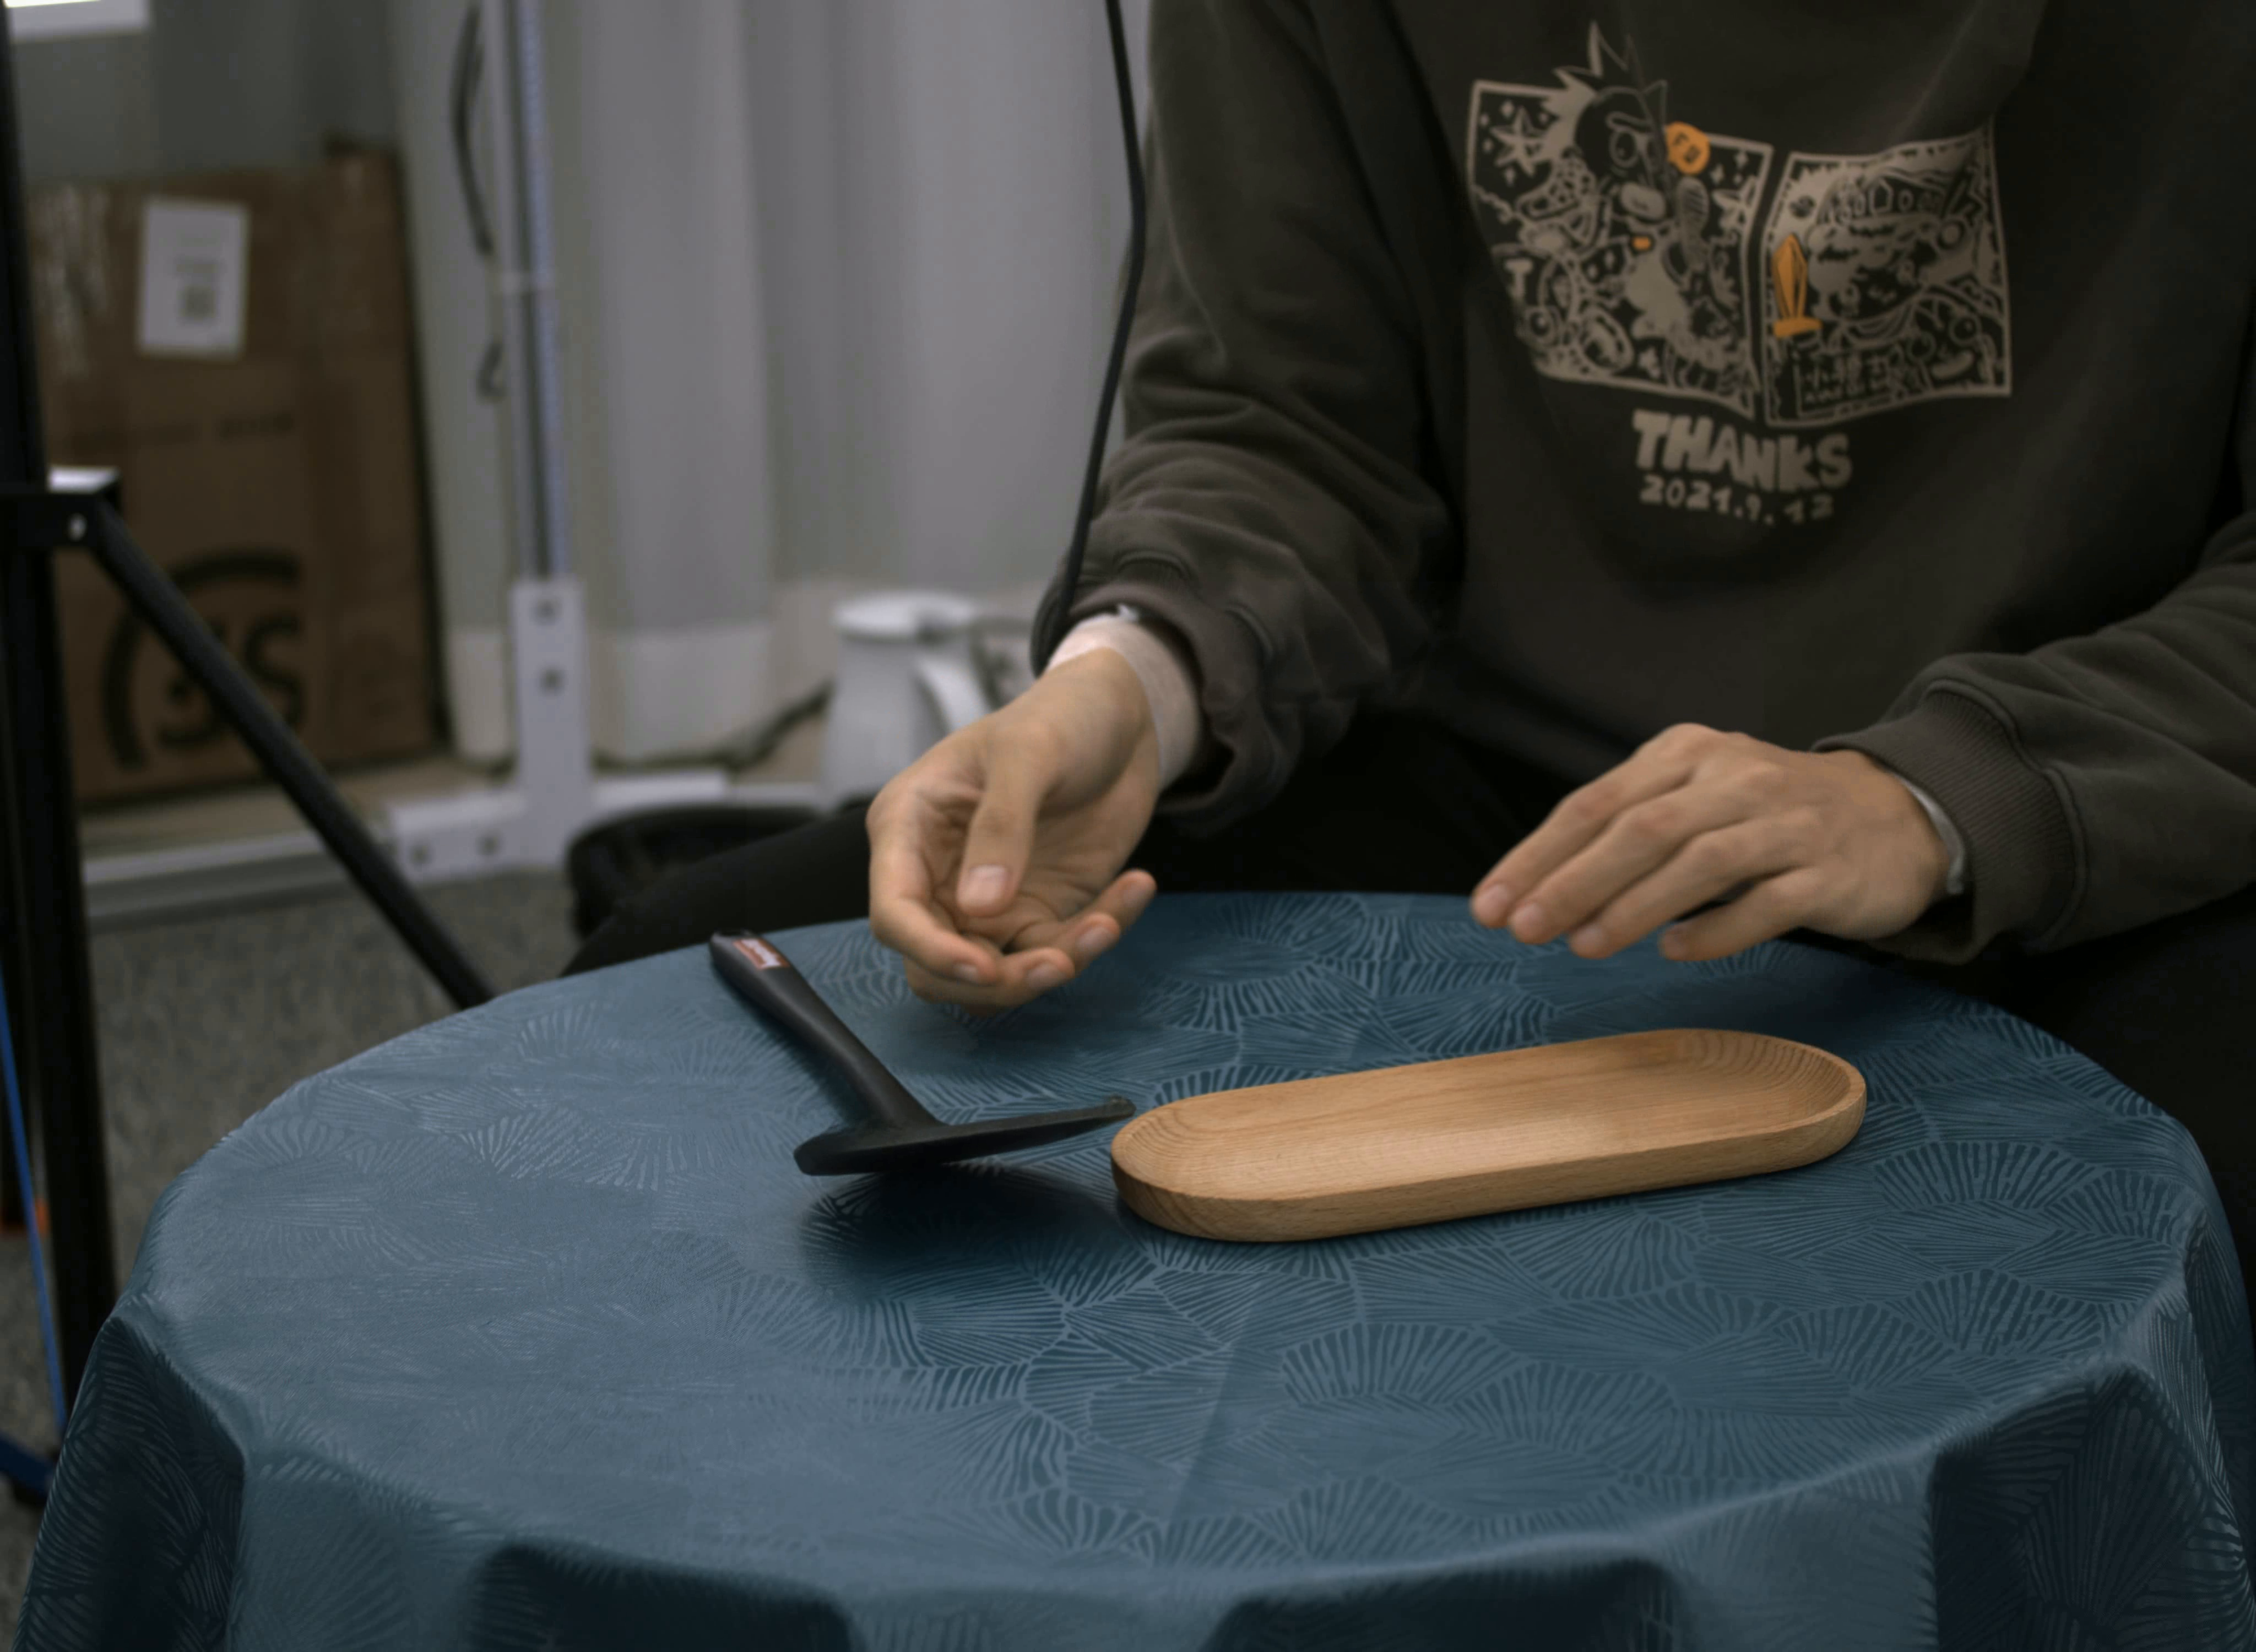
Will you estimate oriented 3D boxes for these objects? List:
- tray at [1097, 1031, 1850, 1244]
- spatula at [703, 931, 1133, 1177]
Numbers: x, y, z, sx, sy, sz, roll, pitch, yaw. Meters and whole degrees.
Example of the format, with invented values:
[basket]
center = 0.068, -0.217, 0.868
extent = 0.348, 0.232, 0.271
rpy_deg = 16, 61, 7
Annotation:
[tray]
center = 0.104, 0.092, 1.570
extent = 0.227, 0.020, 0.103
rpy_deg = -8, 16, -14
[spatula]
center = -0.090, 0.065, 1.662
extent = 0.098, 0.040, 0.331
rpy_deg = -6, 16, -16
